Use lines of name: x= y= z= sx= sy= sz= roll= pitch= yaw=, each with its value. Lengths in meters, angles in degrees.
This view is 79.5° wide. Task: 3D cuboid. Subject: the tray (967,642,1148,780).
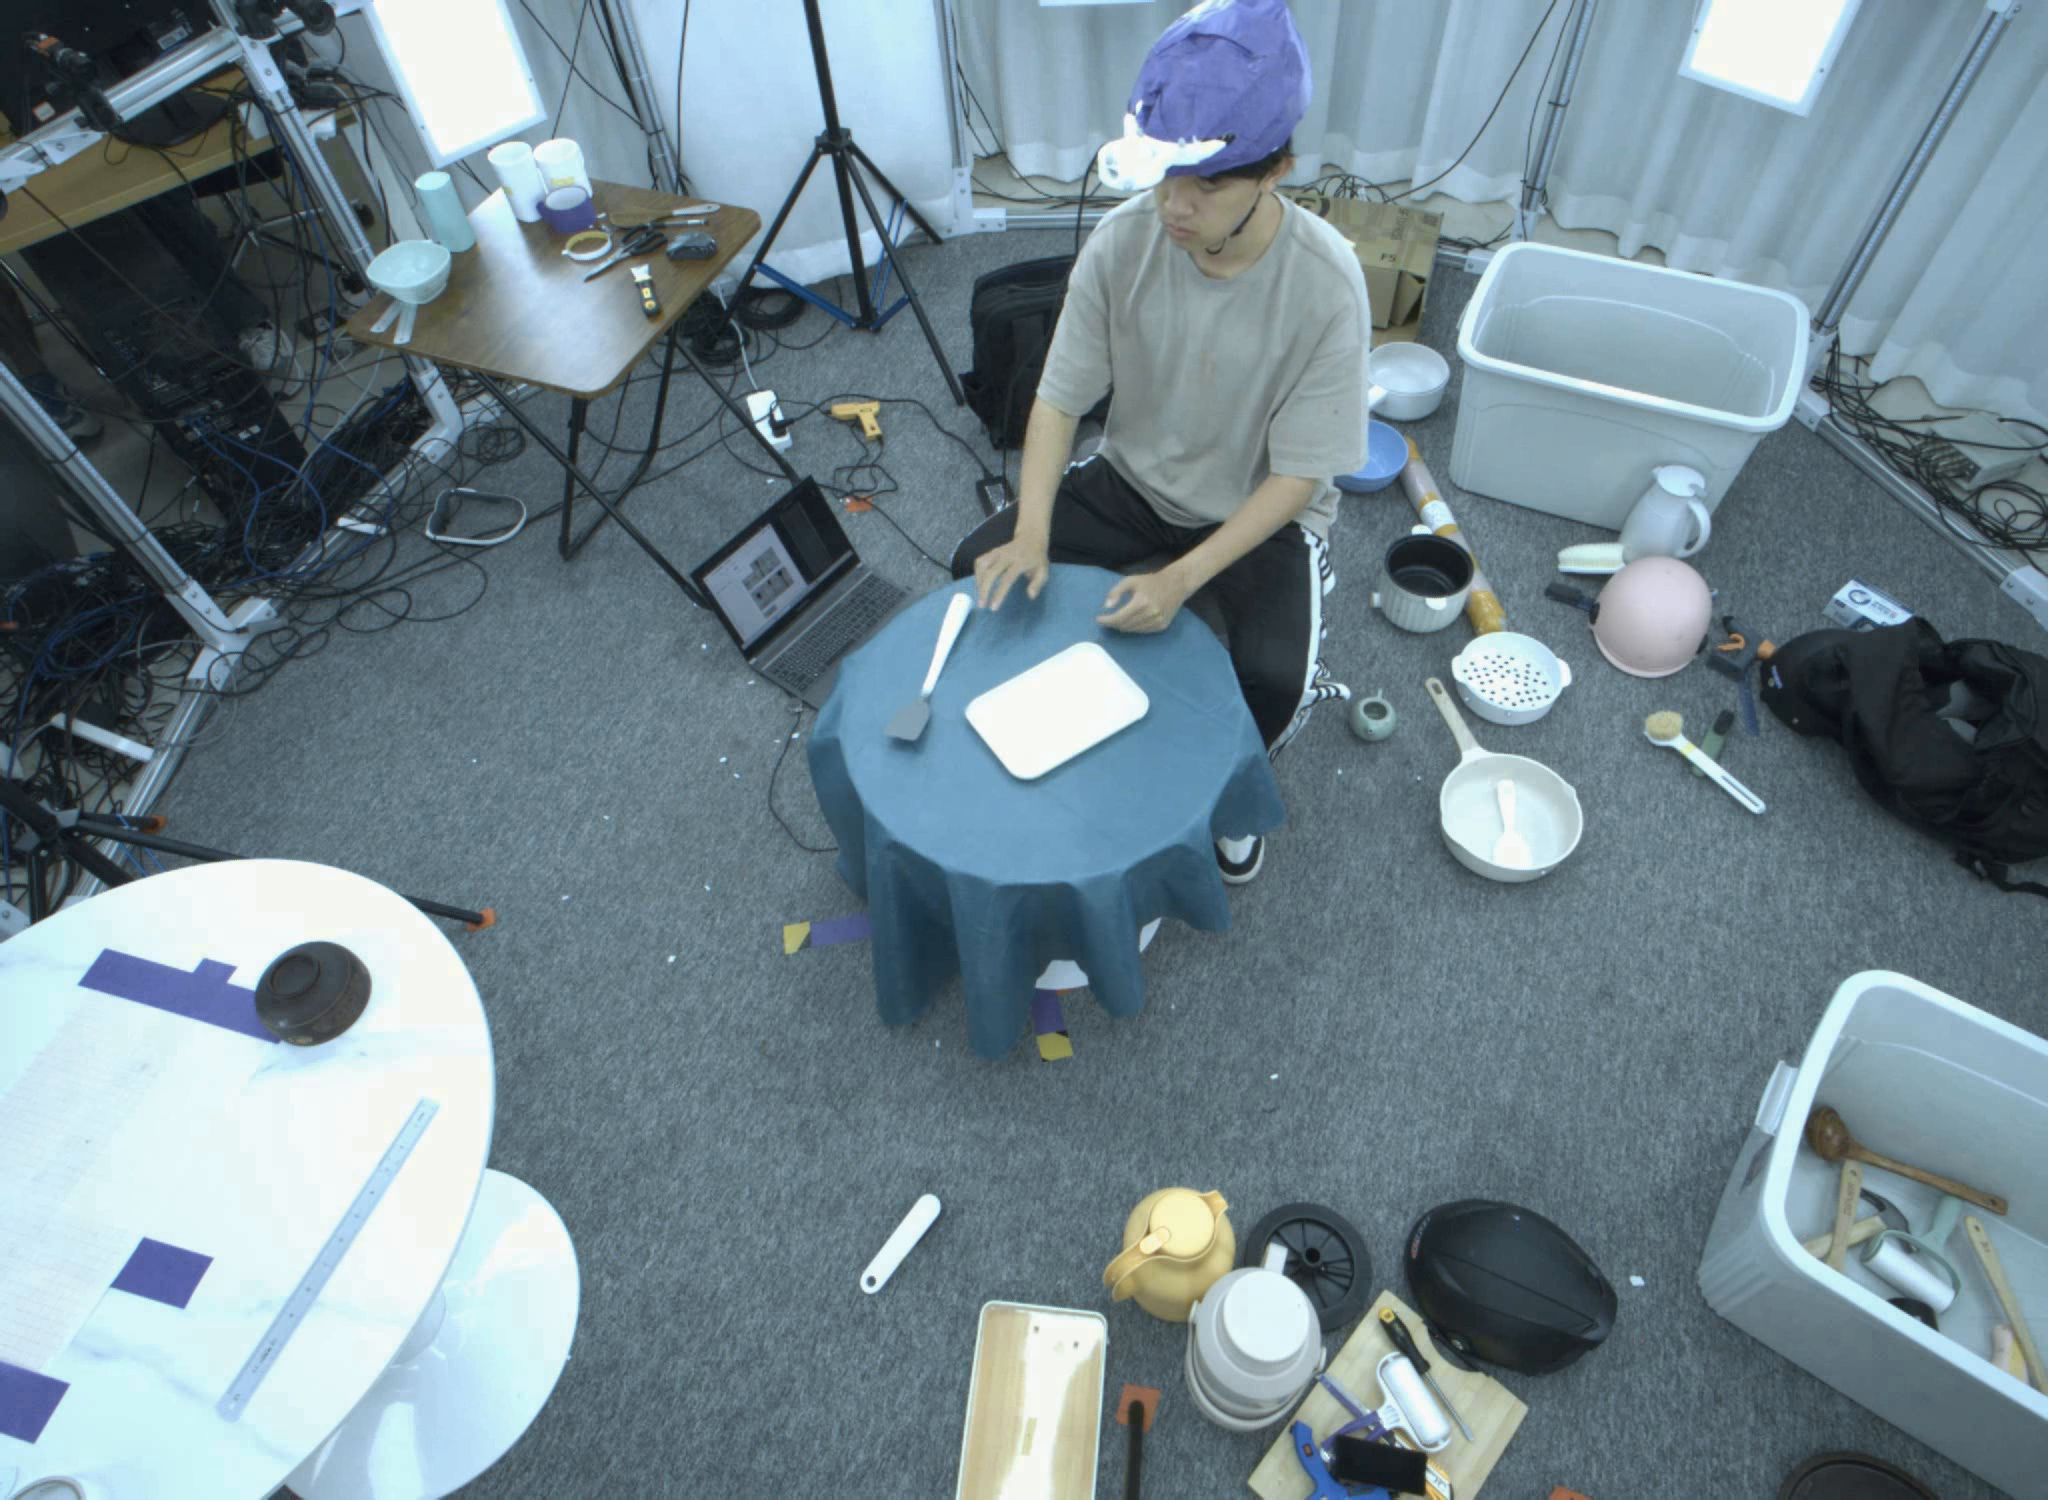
tray: x=0.049 y=-0.059 z=1.814 sx=0.241 sy=0.017 sz=0.168 roll=-29 pitch=60 yaw=-17

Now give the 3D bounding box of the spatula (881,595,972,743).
spatula: x=-0.140 y=-0.122 z=1.855 sx=0.058 sy=0.032 sz=0.287 roll=15 pitch=57 yaw=9
